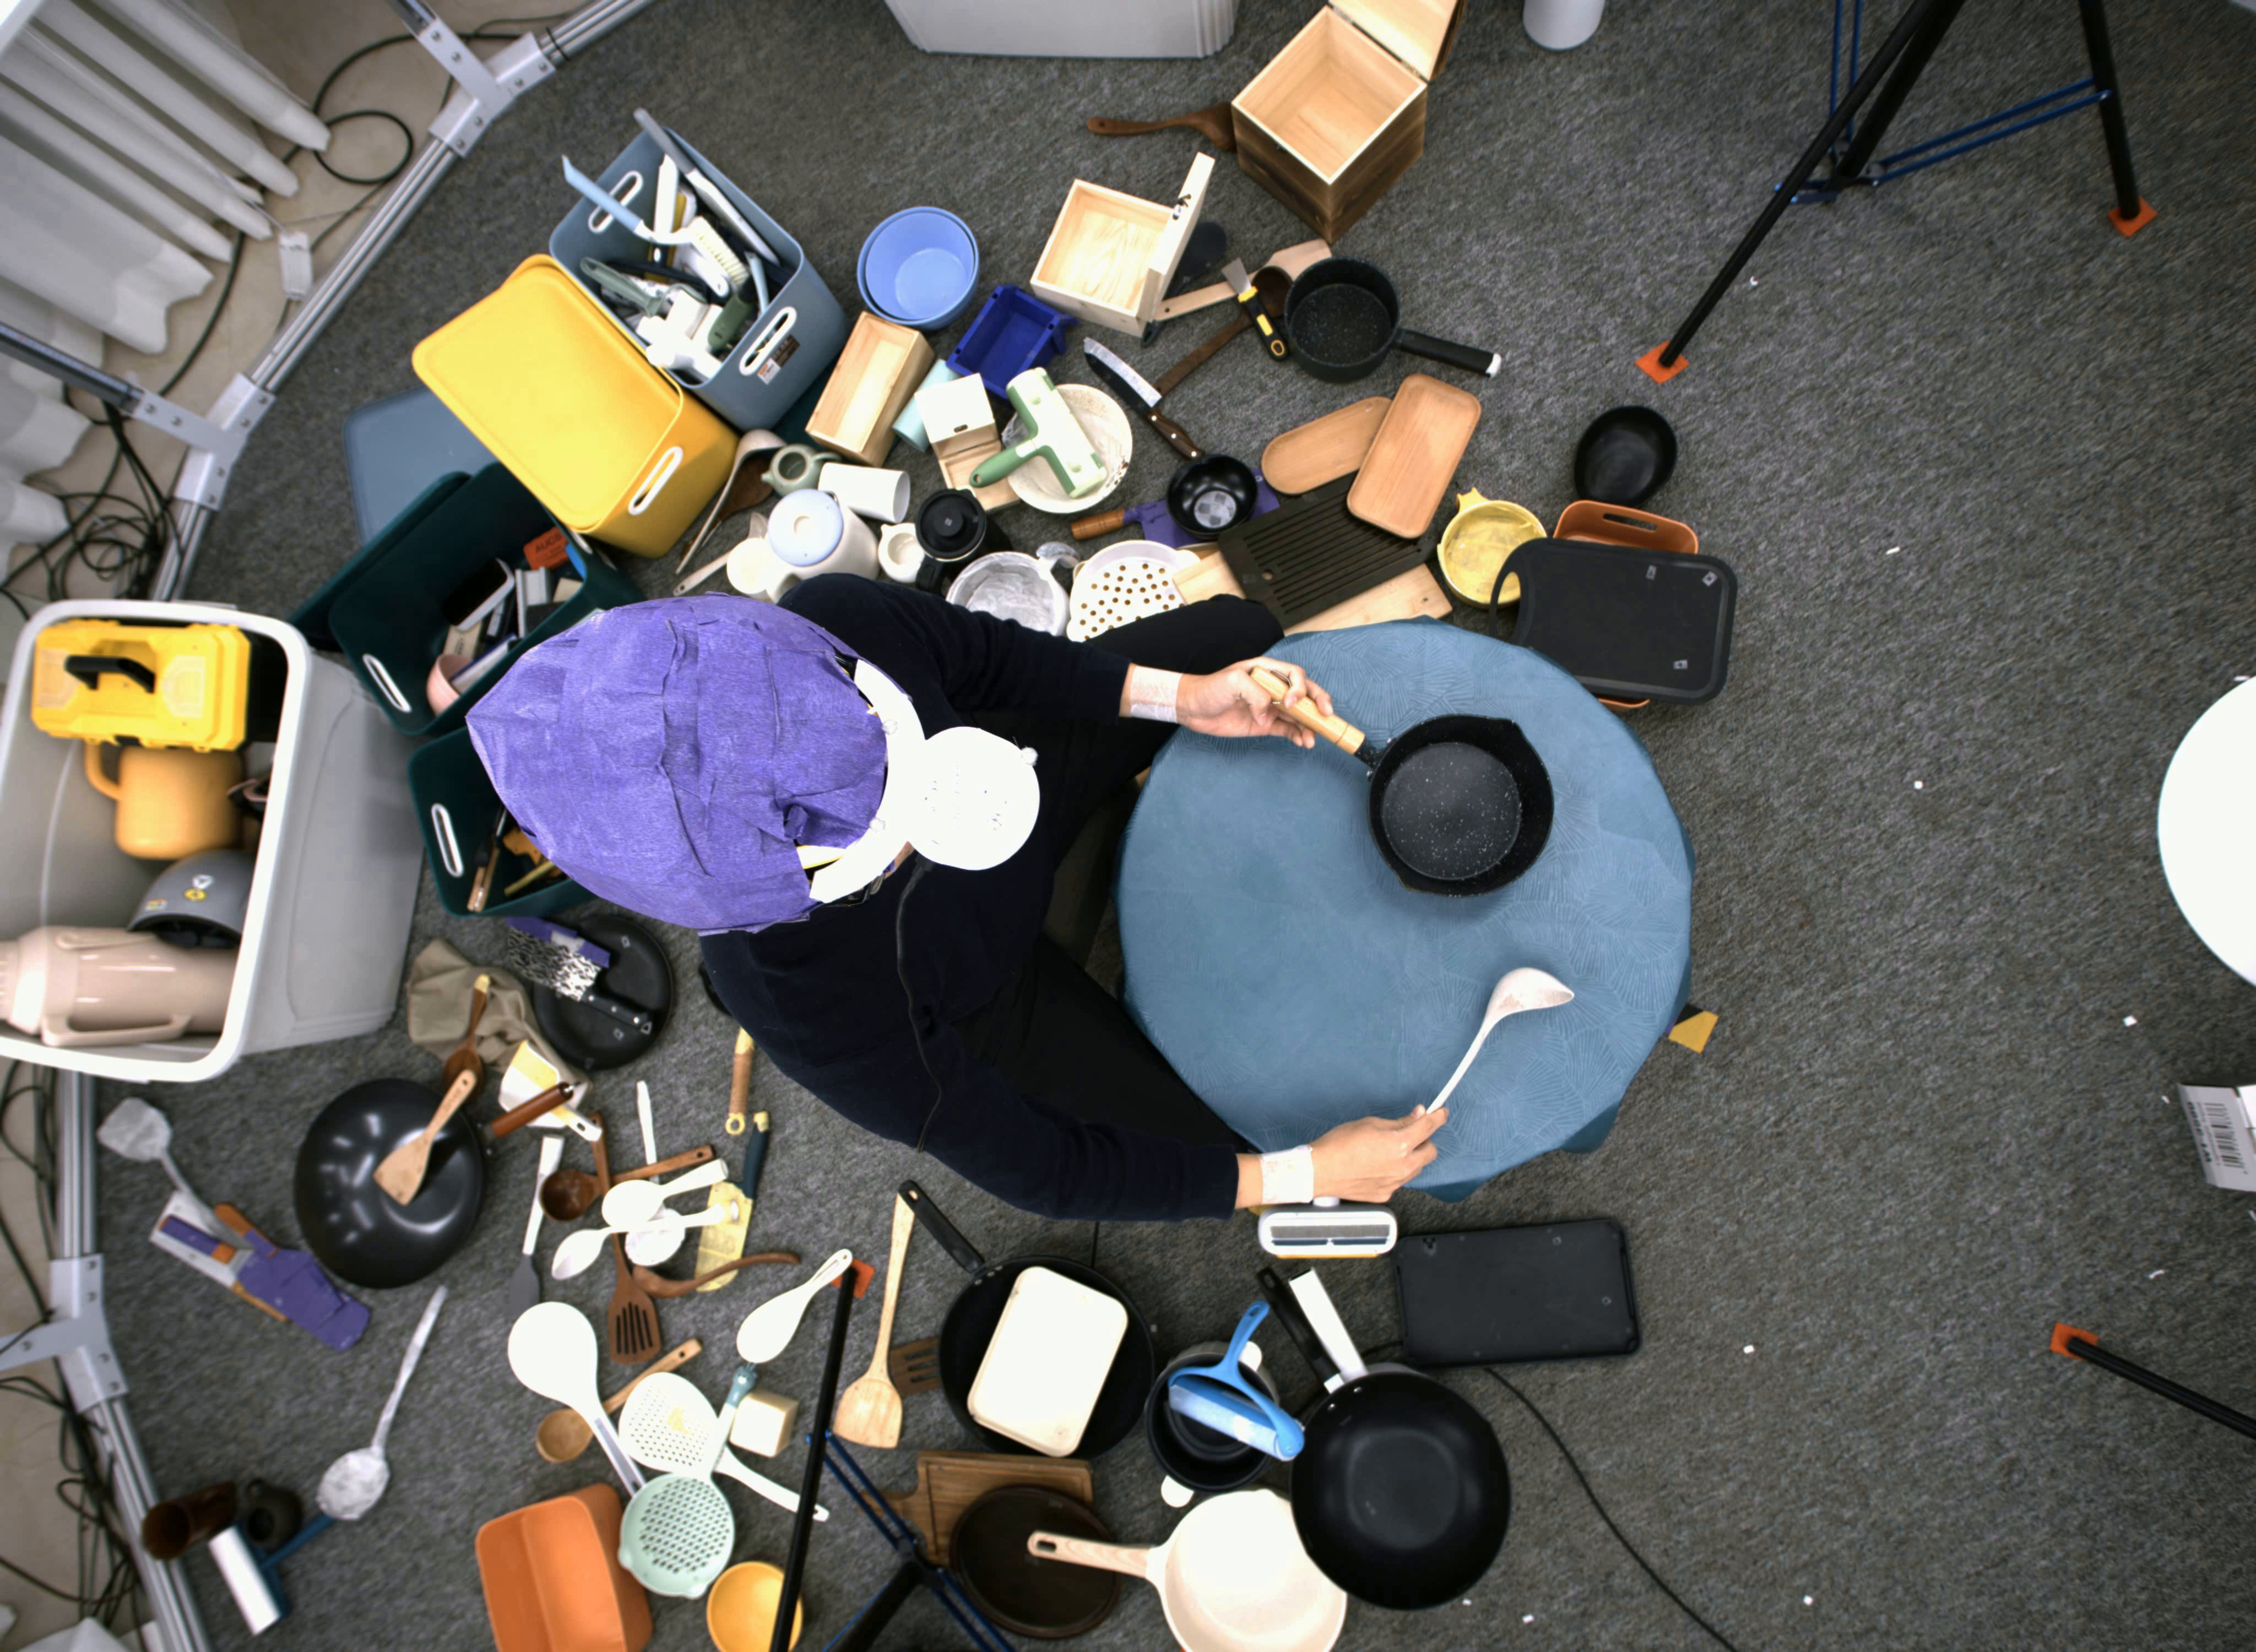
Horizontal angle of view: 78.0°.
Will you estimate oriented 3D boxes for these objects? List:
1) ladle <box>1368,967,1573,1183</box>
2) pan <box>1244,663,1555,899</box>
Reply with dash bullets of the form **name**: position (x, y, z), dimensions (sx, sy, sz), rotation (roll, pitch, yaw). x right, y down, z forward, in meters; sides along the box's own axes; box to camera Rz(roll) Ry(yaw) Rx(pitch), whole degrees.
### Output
- **ladle**: position (0.344, 0.259, 1.384), dimensions (0.069, 0.090, 0.274), rotation (33, 89, 25)
- **pan**: position (0.266, -0.061, 1.403), dimensions (0.342, 0.108, 0.208), rotation (31, 94, 5)
